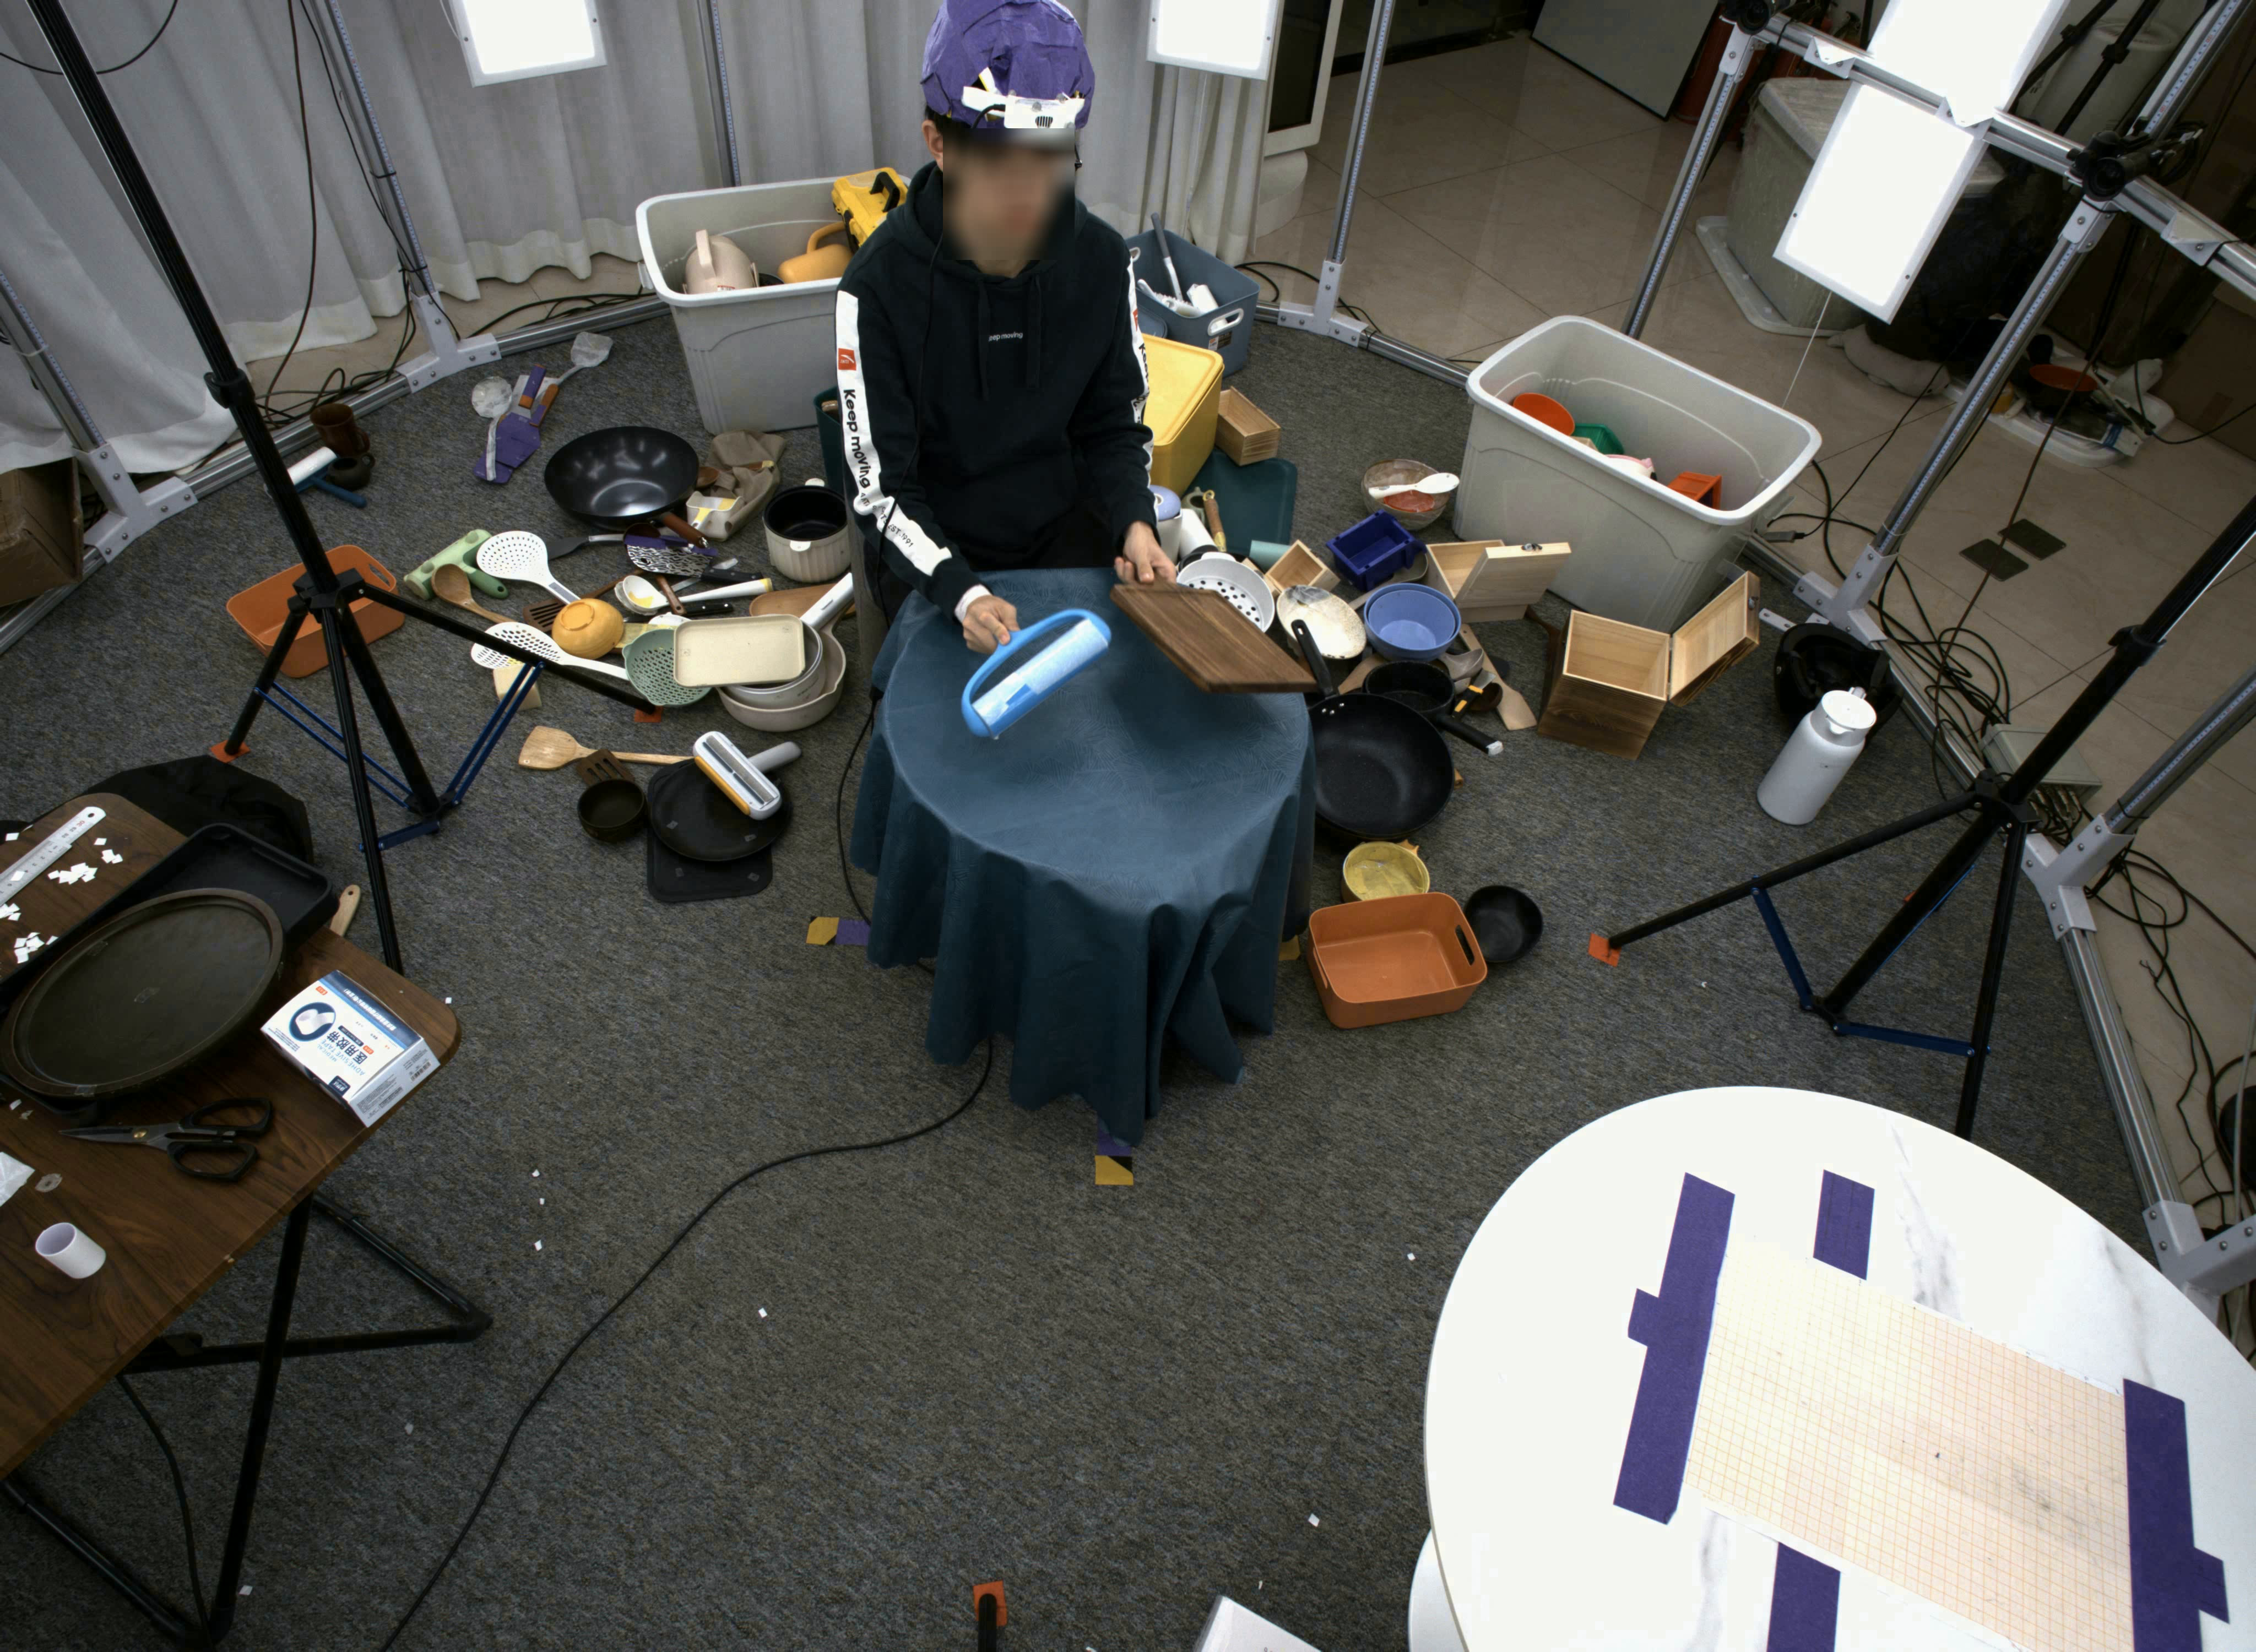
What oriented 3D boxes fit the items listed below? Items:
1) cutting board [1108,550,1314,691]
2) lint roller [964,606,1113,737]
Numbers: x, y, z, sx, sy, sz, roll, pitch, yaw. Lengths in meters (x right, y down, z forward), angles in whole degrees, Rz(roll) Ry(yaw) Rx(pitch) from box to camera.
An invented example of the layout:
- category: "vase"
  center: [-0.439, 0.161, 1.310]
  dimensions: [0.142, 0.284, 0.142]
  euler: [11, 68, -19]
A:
- category: "cutting board"
  center: [0.088, -0.292, 1.796]
  dimensions: [0.200, 0.023, 0.360]
  euler: [-4, 39, -37]
- category: "lint roller"
  center: [-0.149, -0.231, 1.723]
  dimensions: [0.230, 0.066, 0.184]
  euler: [-42, 53, -8]
